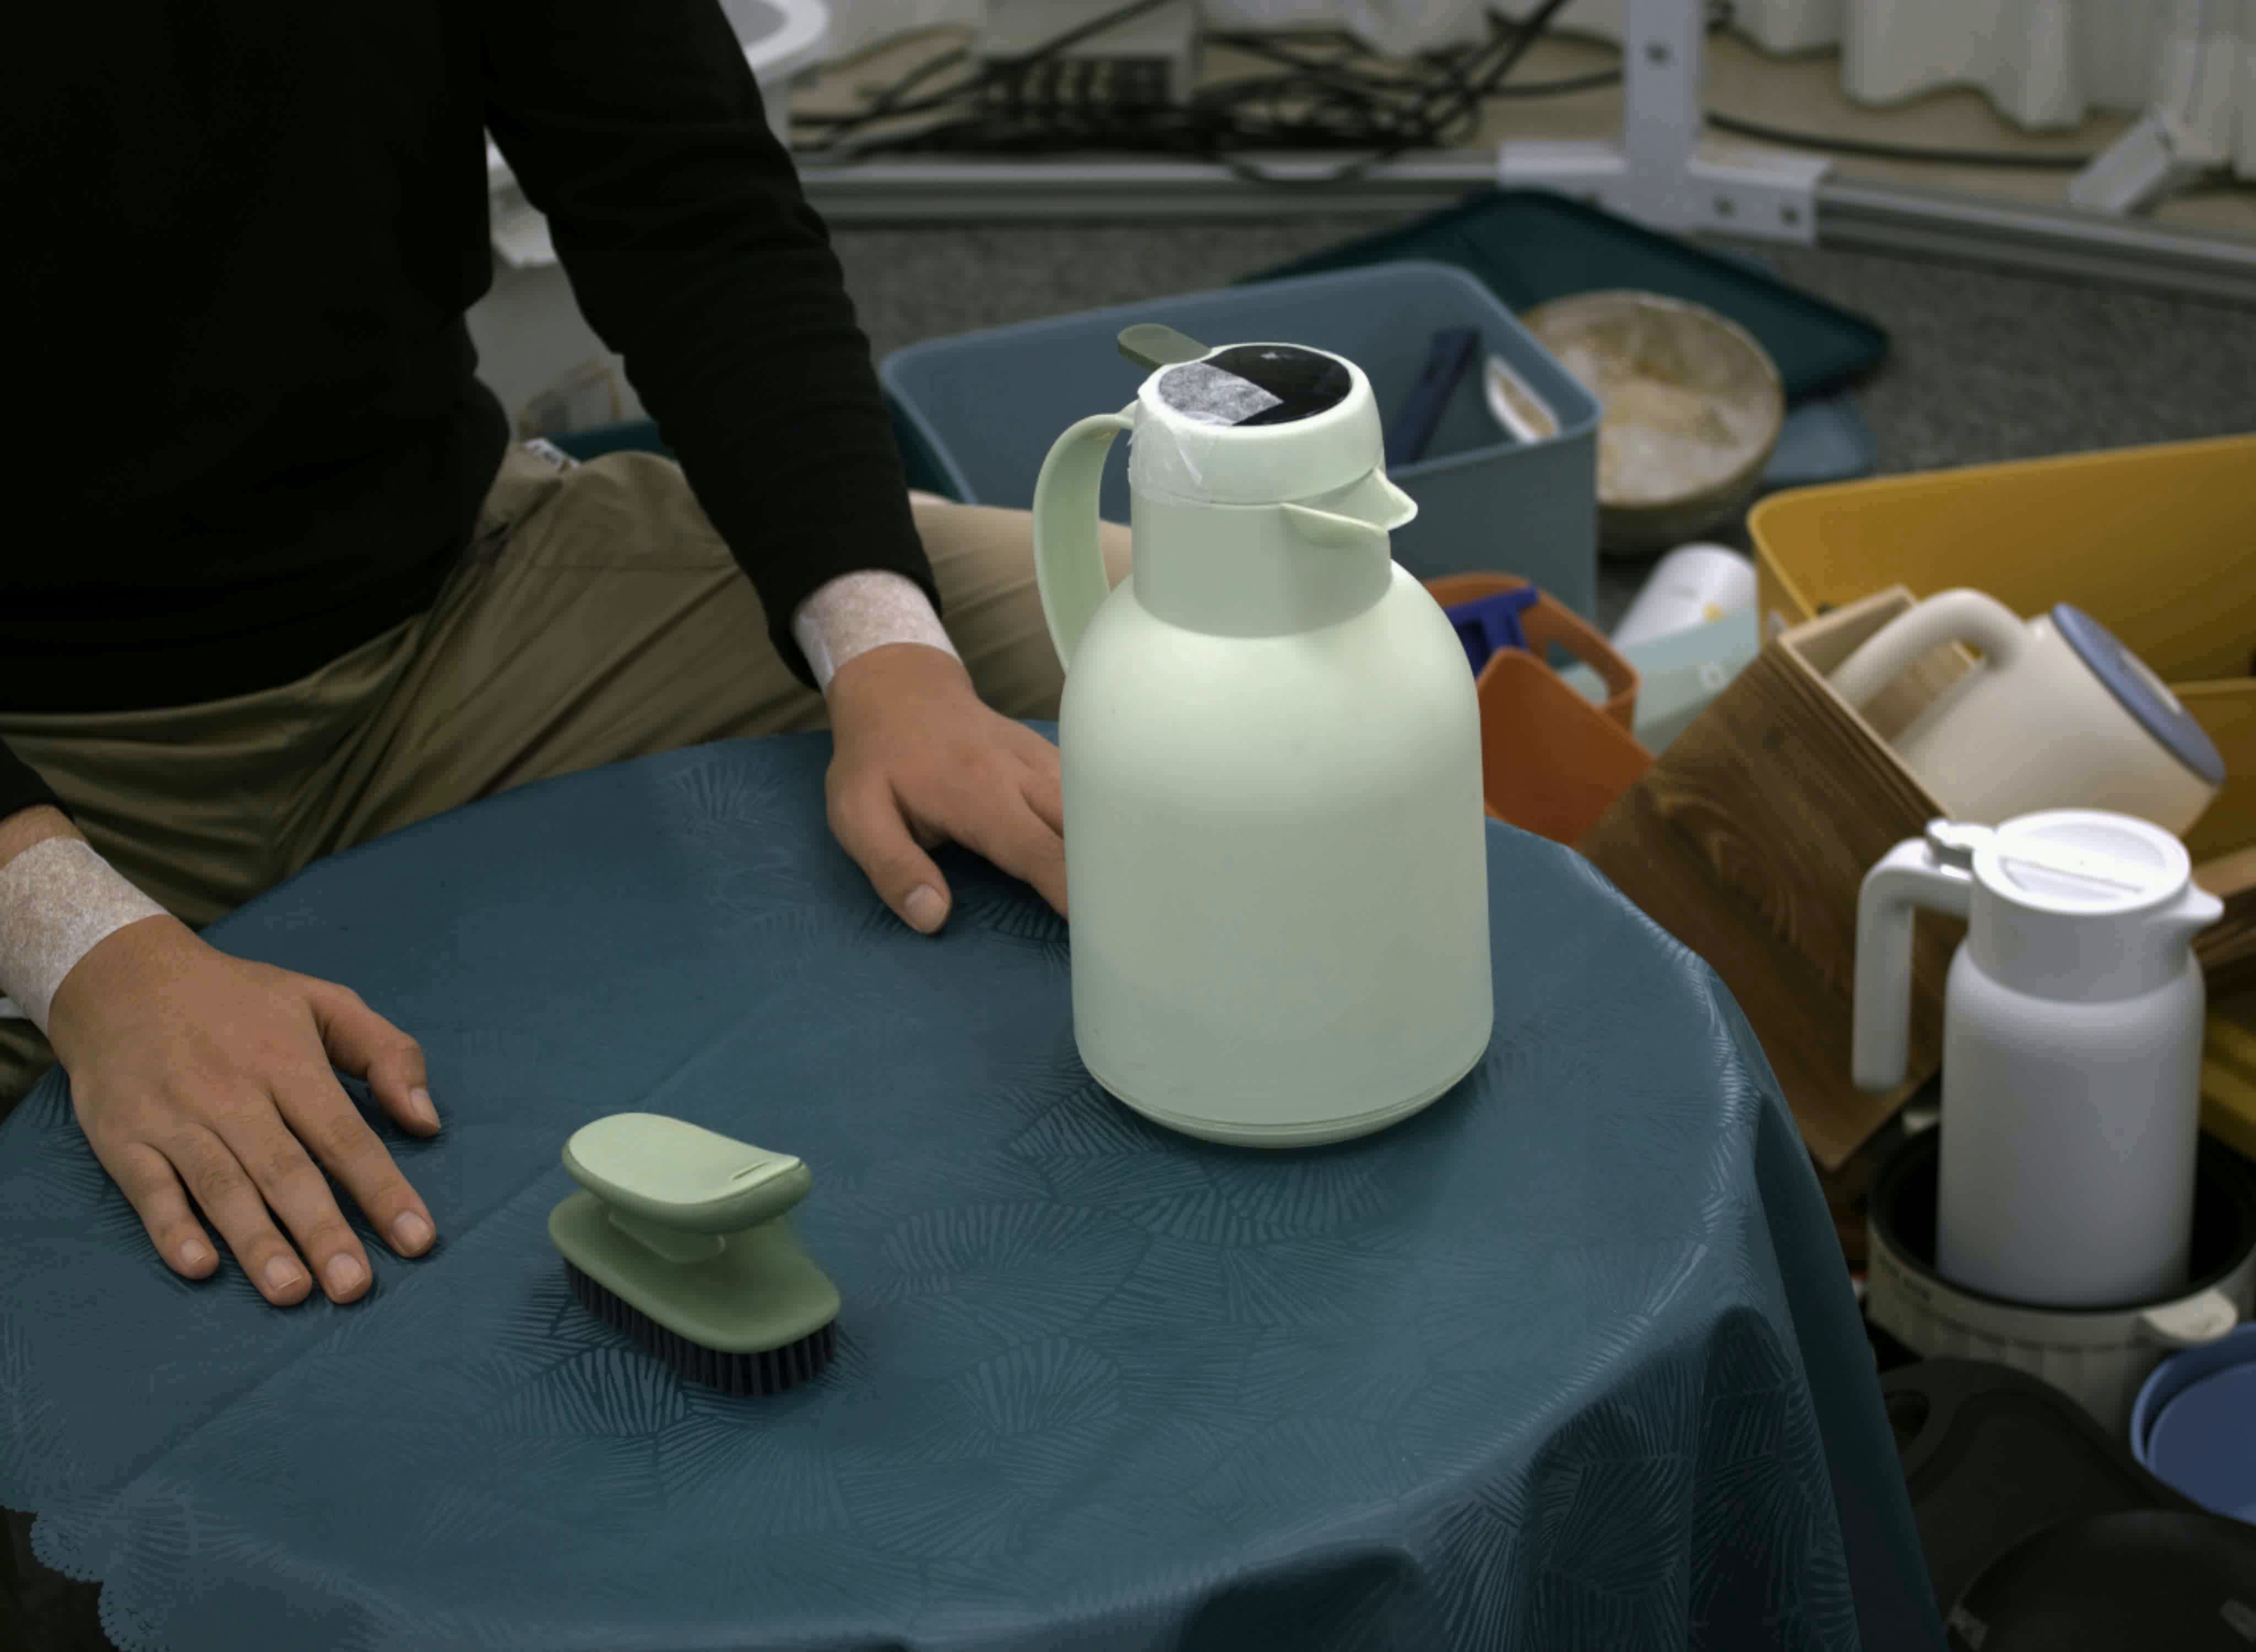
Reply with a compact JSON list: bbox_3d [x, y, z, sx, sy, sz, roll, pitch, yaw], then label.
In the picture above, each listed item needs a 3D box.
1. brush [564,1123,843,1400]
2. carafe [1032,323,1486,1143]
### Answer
[{"bbox_3d":[-0.136,0.137,1.797,0.060,0.075,0.122,-22,15,-29],"label":"brush"},{"bbox_3d":[0.037,-0.038,1.889,0.145,0.254,0.187,-21,29,-33],"label":"carafe"}]
